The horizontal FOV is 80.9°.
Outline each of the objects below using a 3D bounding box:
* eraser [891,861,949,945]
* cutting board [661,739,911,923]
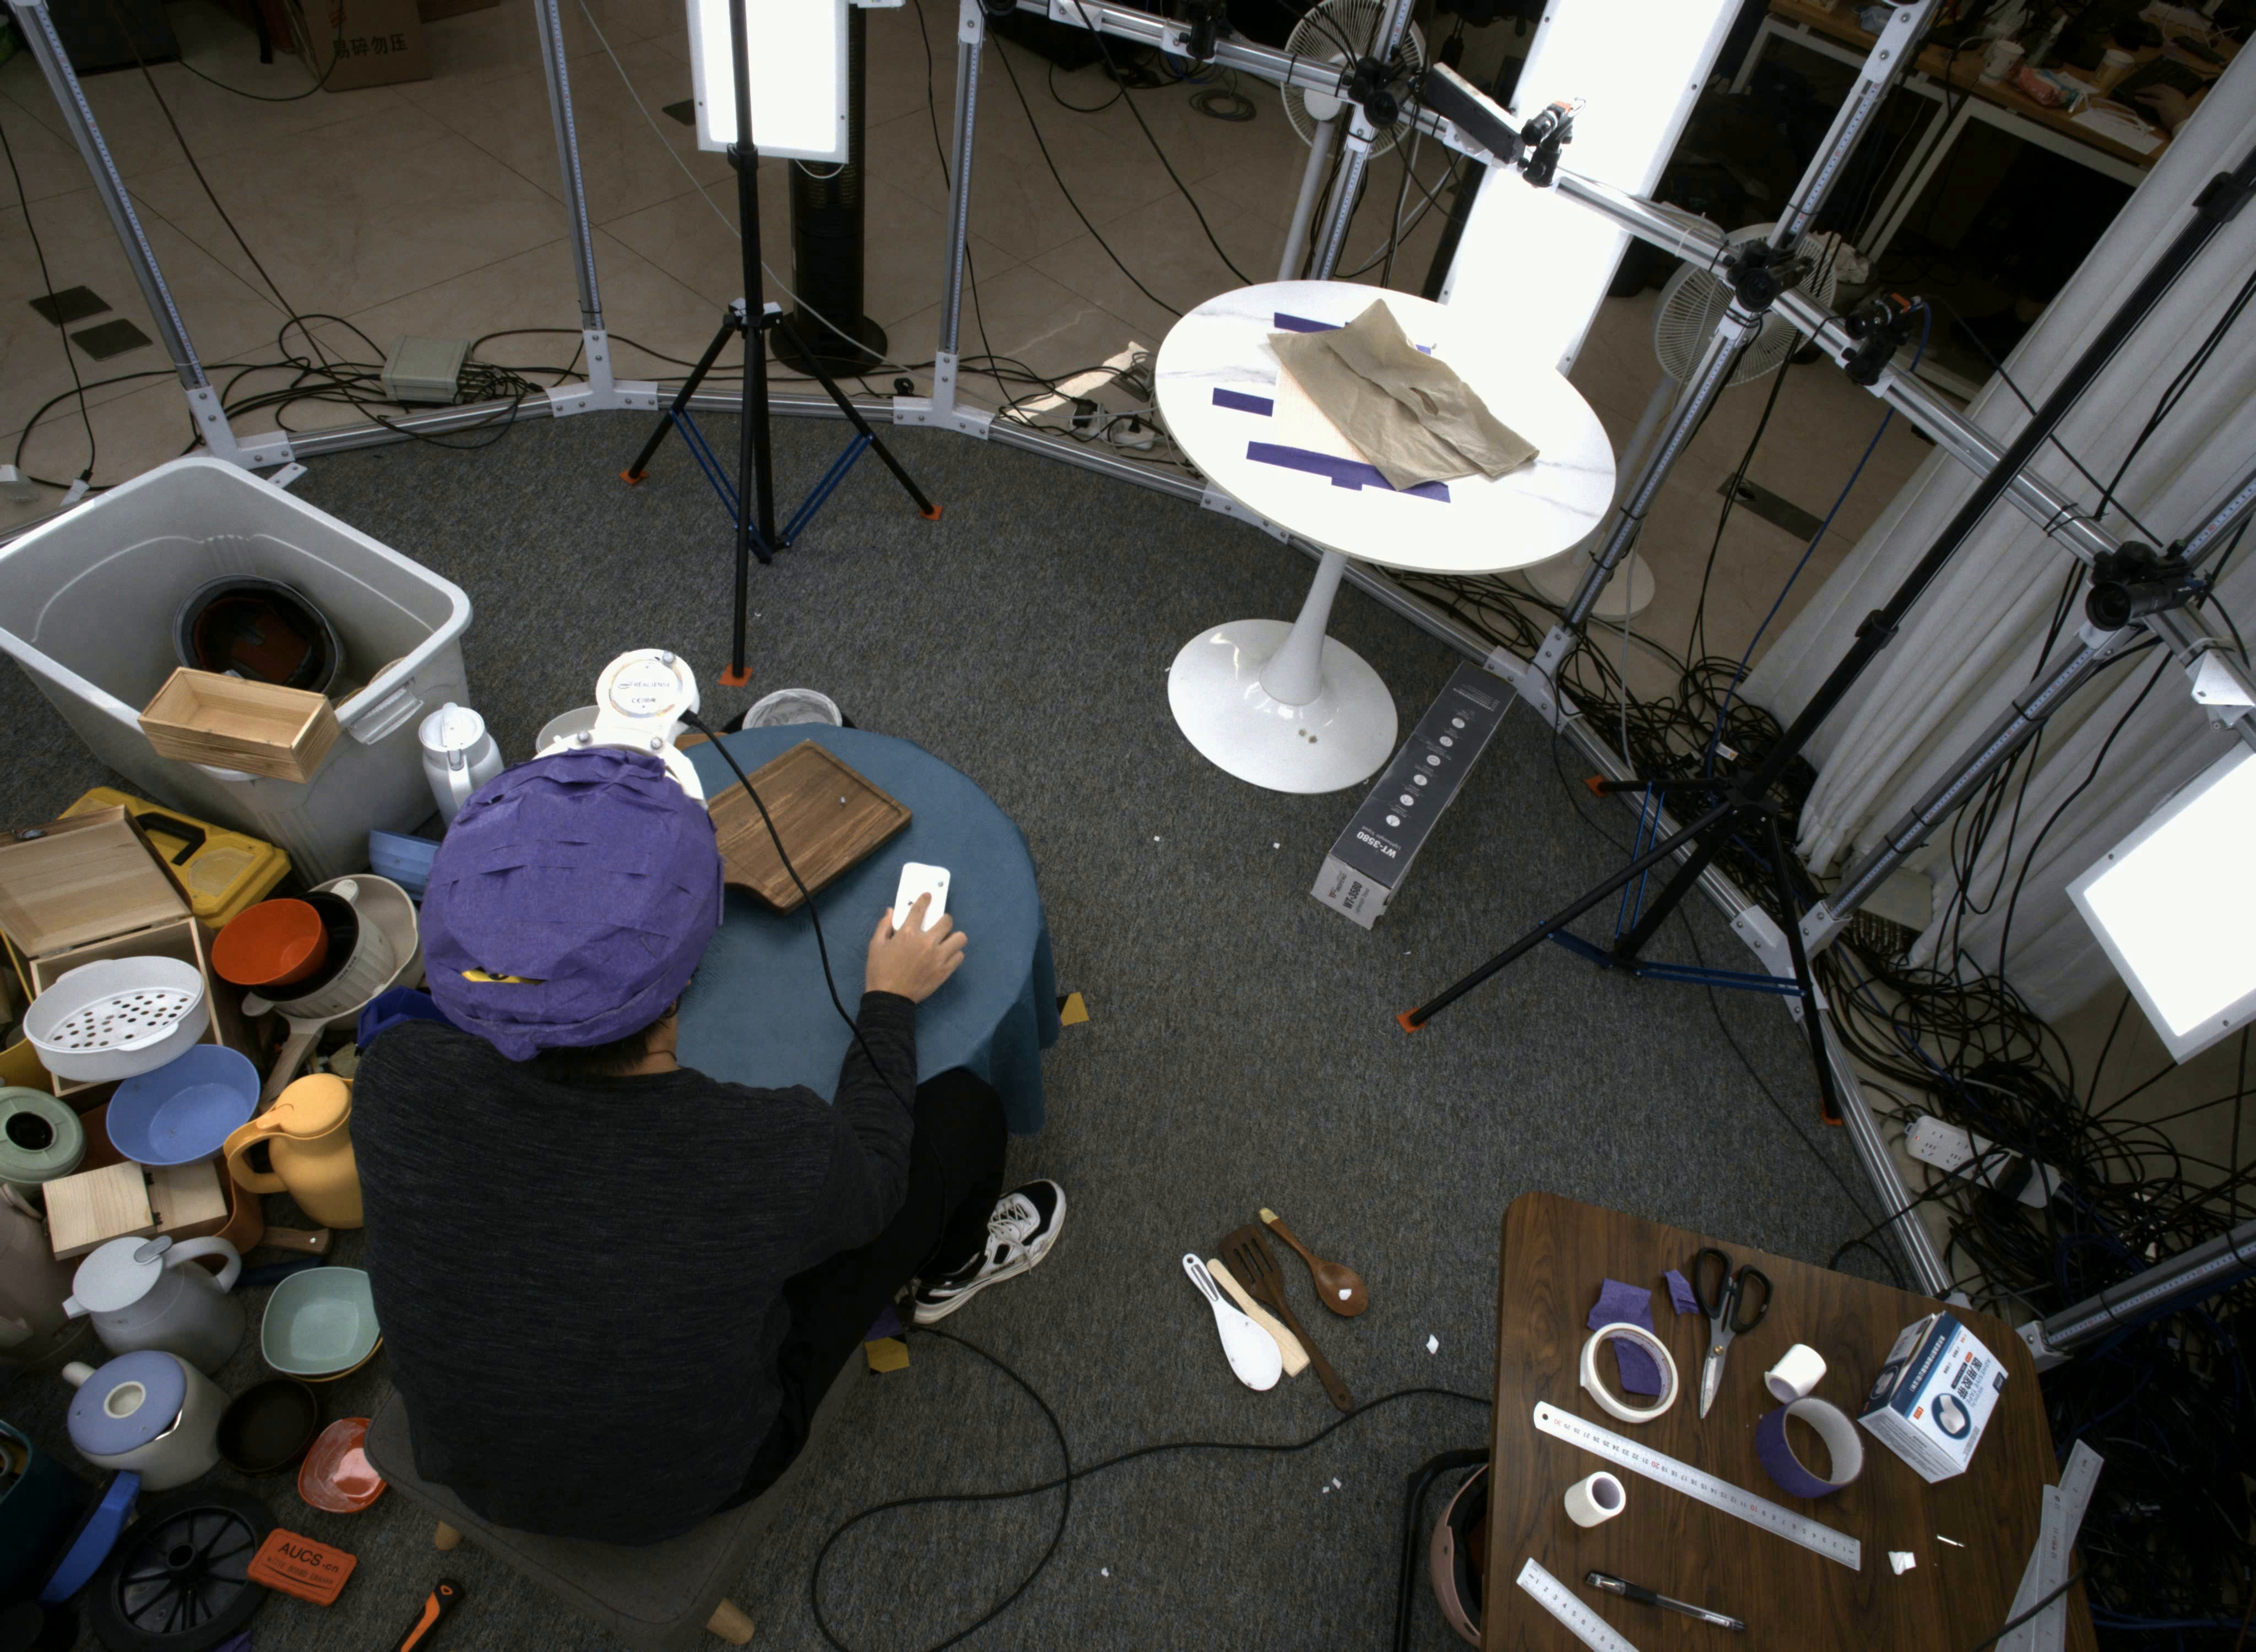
[{"bbox_3d":[-0.264,0.092,1.641,0.063,0.035,0.128,12,38,-9],"label":"eraser"},{"bbox_3d":[-0.458,0.017,1.647,0.197,0.023,0.352,35,43,12],"label":"cutting board"}]
